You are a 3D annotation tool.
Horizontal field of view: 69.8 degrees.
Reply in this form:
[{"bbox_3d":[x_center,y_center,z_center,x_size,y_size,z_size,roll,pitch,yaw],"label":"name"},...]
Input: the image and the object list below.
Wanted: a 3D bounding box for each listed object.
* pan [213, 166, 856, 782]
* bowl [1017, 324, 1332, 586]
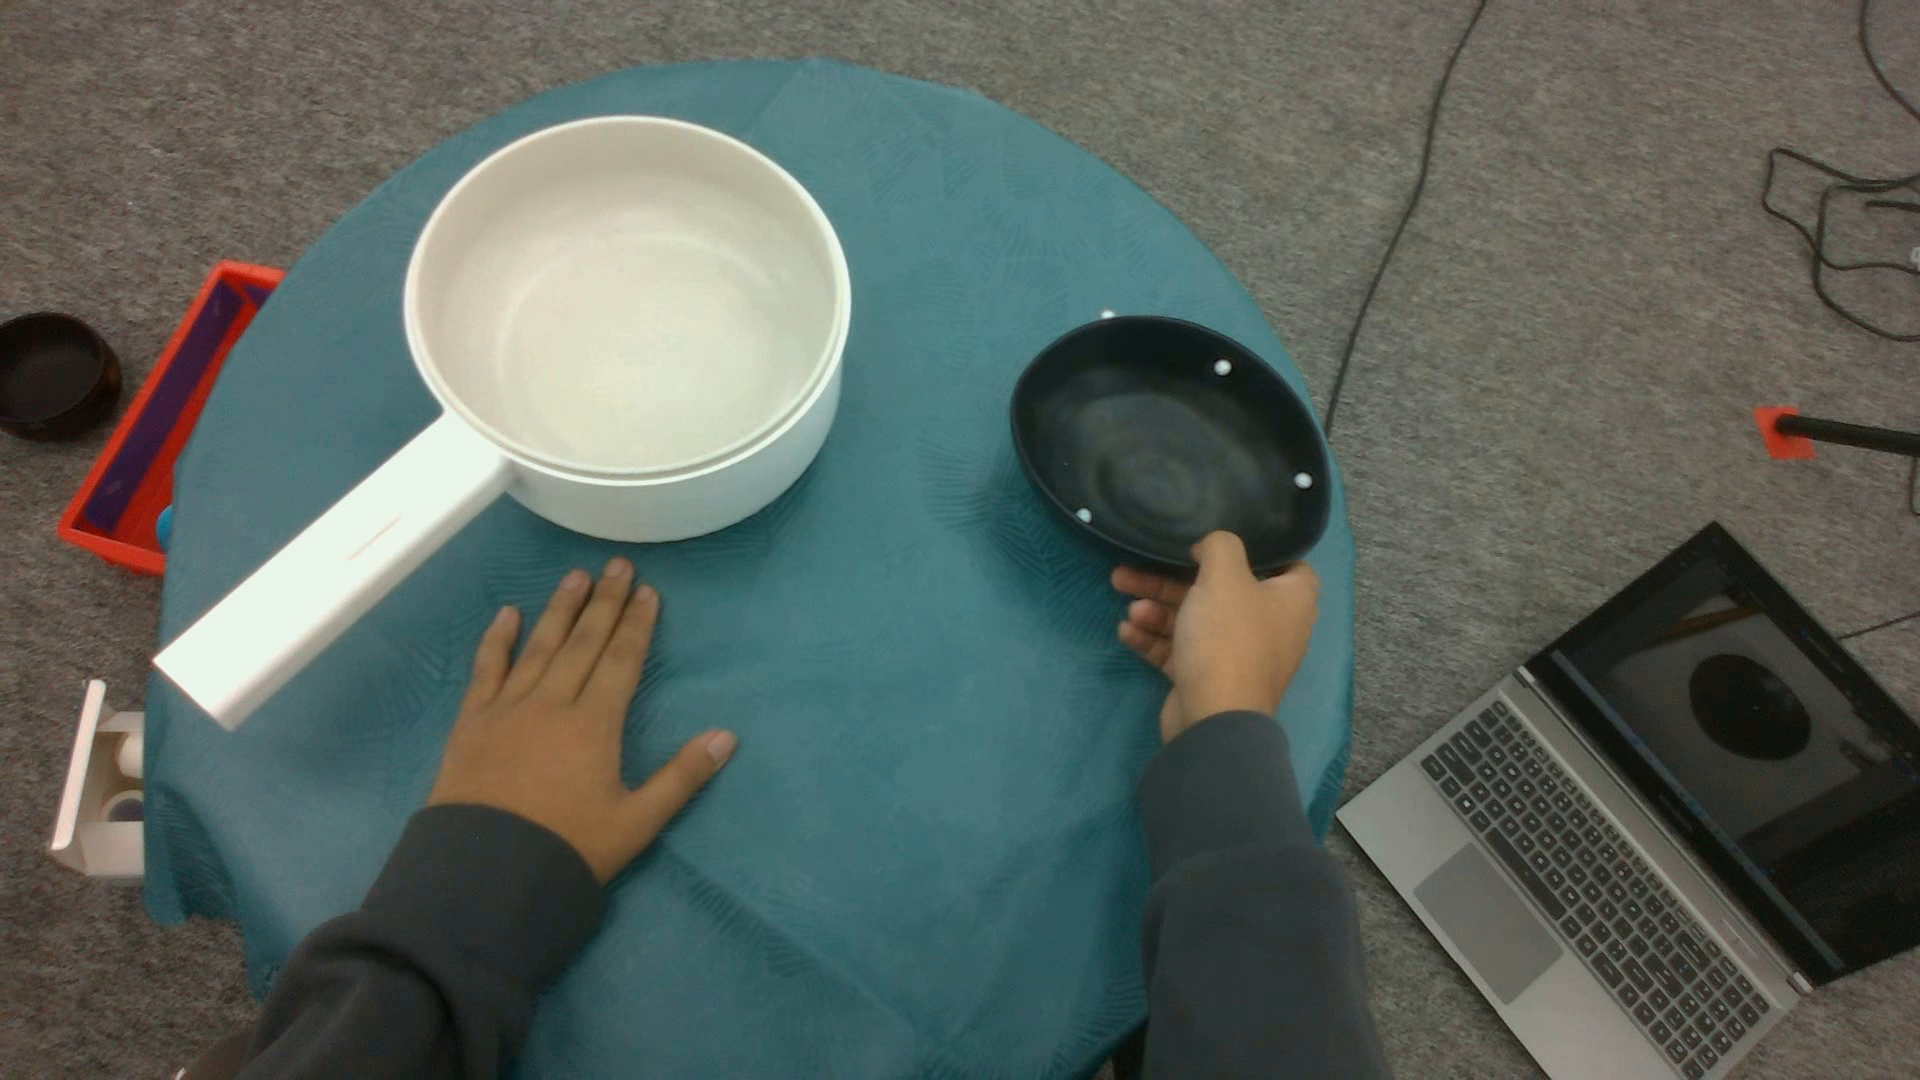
[{"bbox_3d":[-0.200,-0.025,0.680,0.201,0.101,0.356,36,69,8],"label":"pan"},{"bbox_3d":[0.109,-0.036,0.719,0.170,0.066,0.138,22,65,4],"label":"bowl"}]
